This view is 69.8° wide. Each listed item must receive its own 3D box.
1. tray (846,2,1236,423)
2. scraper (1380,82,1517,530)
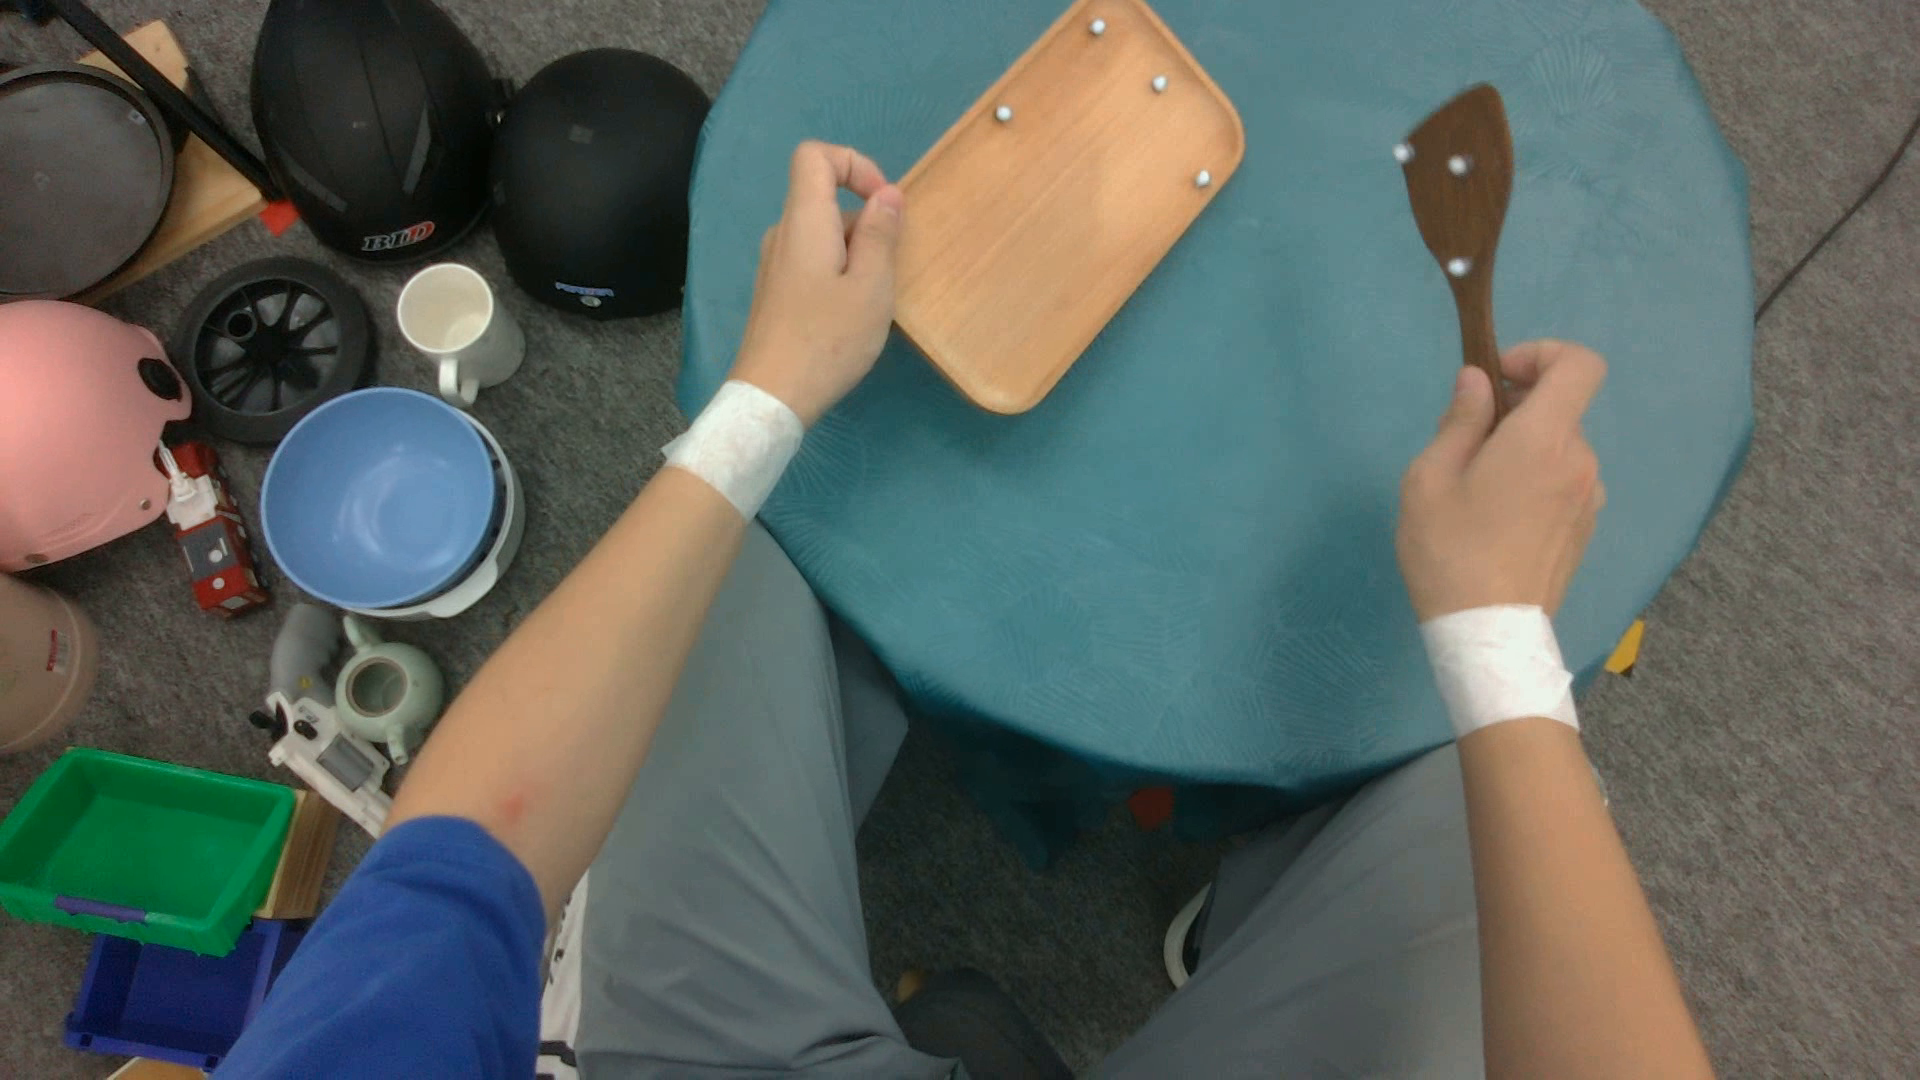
[{"bbox_3d":[0.050,-0.179,0.738,0.130,0.023,0.251,44,66,-9],"label":"tray"},{"bbox_3d":[0.241,-0.110,0.661,0.011,0.075,0.211,-4,82,-18],"label":"scraper"}]
